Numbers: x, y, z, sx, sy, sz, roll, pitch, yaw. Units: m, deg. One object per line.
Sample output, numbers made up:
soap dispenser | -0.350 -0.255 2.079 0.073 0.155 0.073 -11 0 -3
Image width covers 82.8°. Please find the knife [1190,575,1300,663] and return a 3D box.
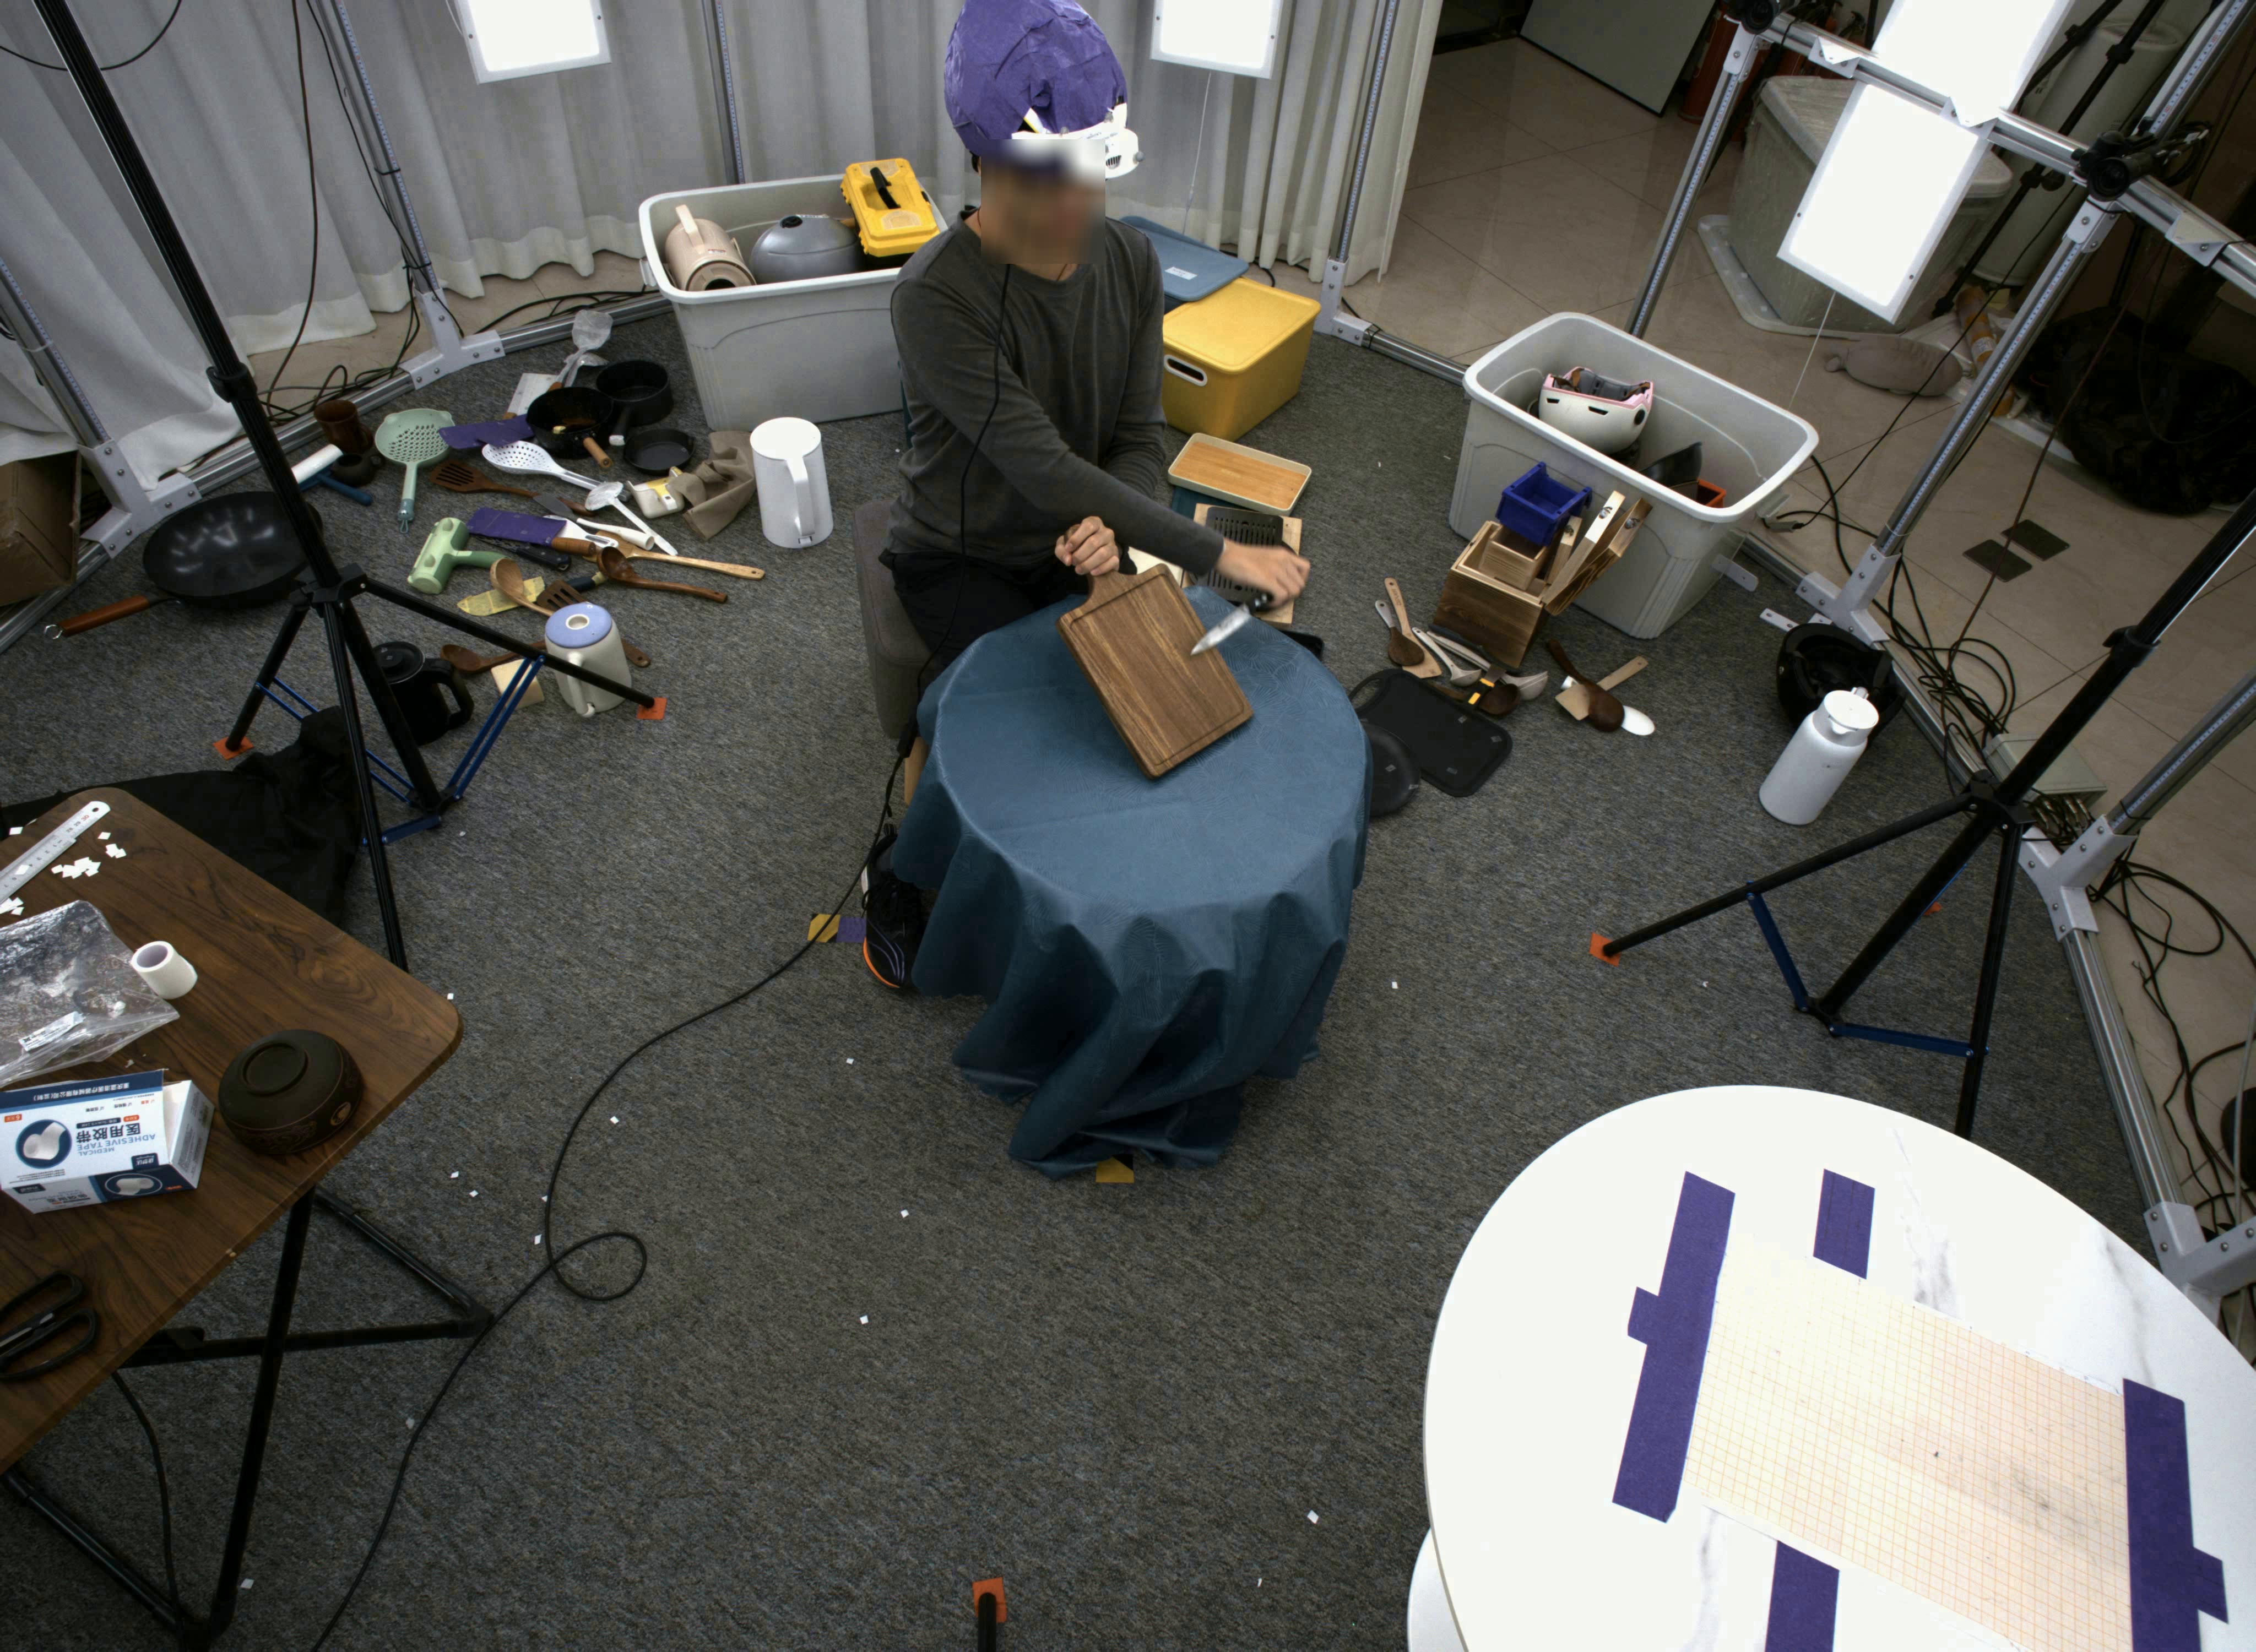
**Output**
knife | 0.164 -0.294 1.817 0.240 0.016 0.024 -40 101 -29

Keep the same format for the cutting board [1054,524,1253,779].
cutting board | 0.013 -0.258 1.755 0.202 0.023 0.352 -33 92 -28
